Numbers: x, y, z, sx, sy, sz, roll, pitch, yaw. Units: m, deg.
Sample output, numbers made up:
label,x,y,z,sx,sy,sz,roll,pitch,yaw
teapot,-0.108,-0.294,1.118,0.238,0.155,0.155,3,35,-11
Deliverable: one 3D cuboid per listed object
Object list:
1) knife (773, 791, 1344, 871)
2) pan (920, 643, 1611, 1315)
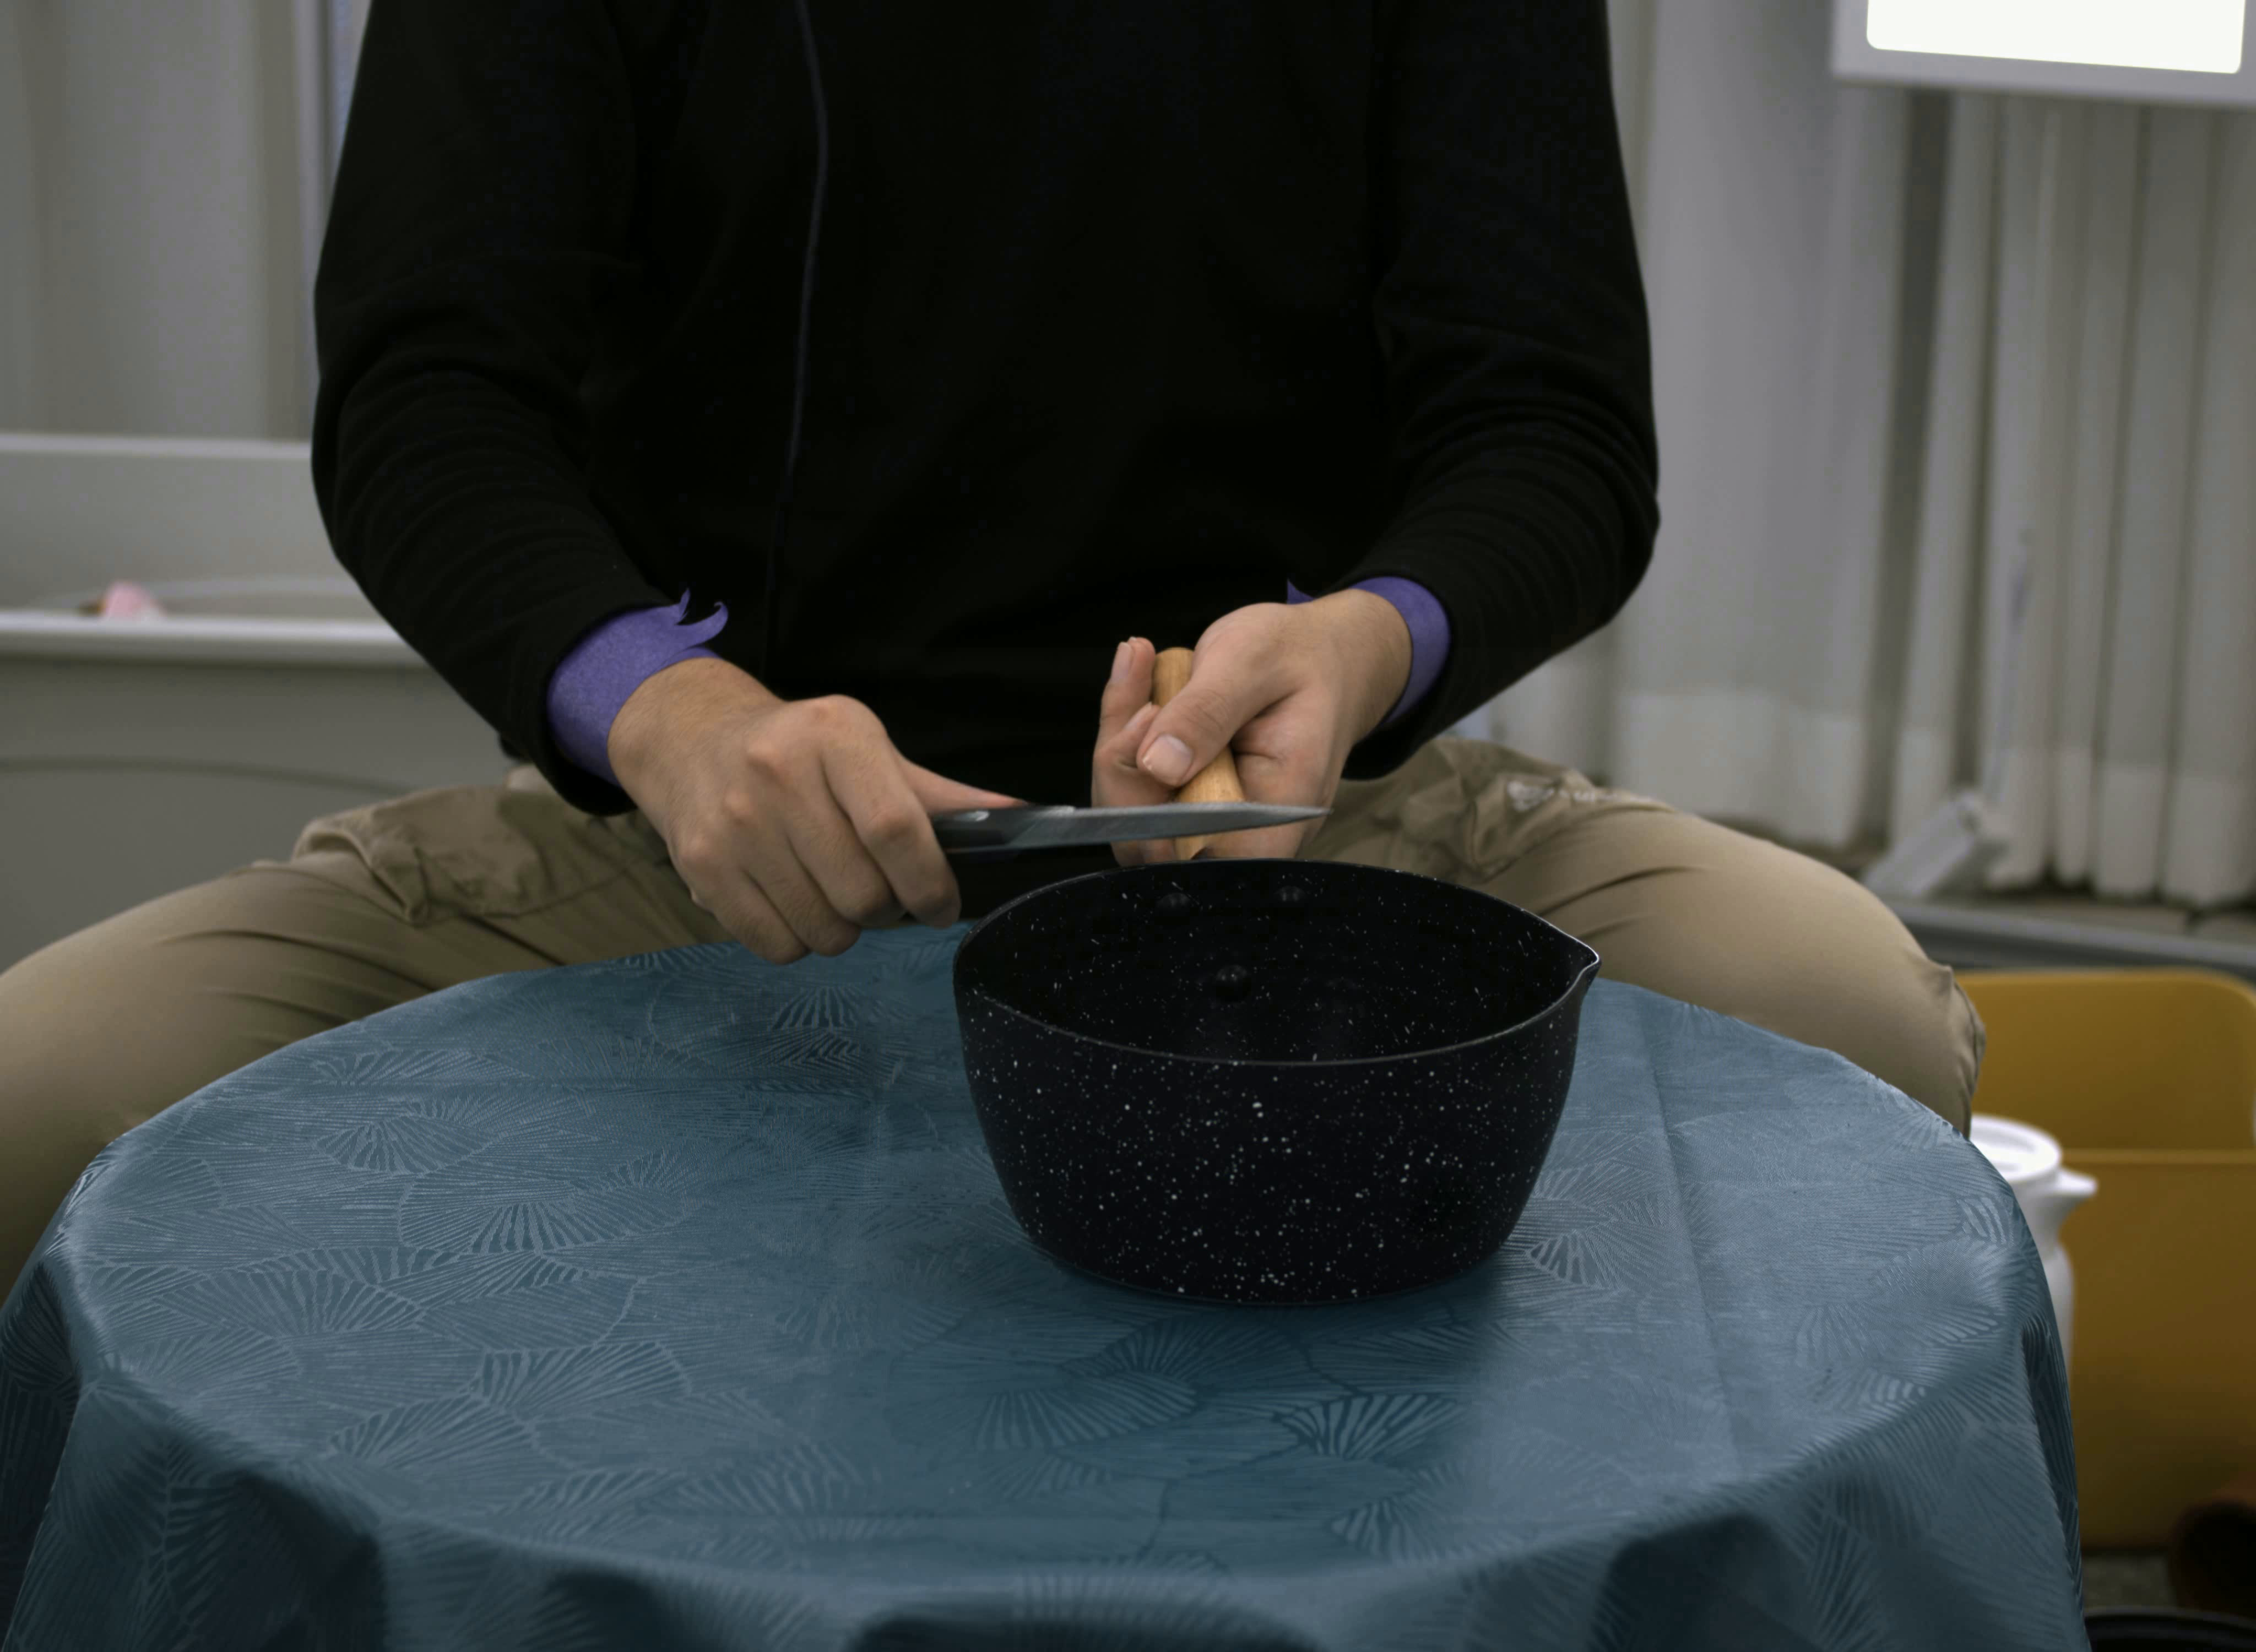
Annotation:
label,x,y,z,sx,sy,sz,roll,pitch,yaw
knife,-0.027,0.000,1.669,0.235,0.016,0.024,-4,28,40
pan,0.032,0.043,1.650,0.207,0.109,0.340,-1,20,-7
